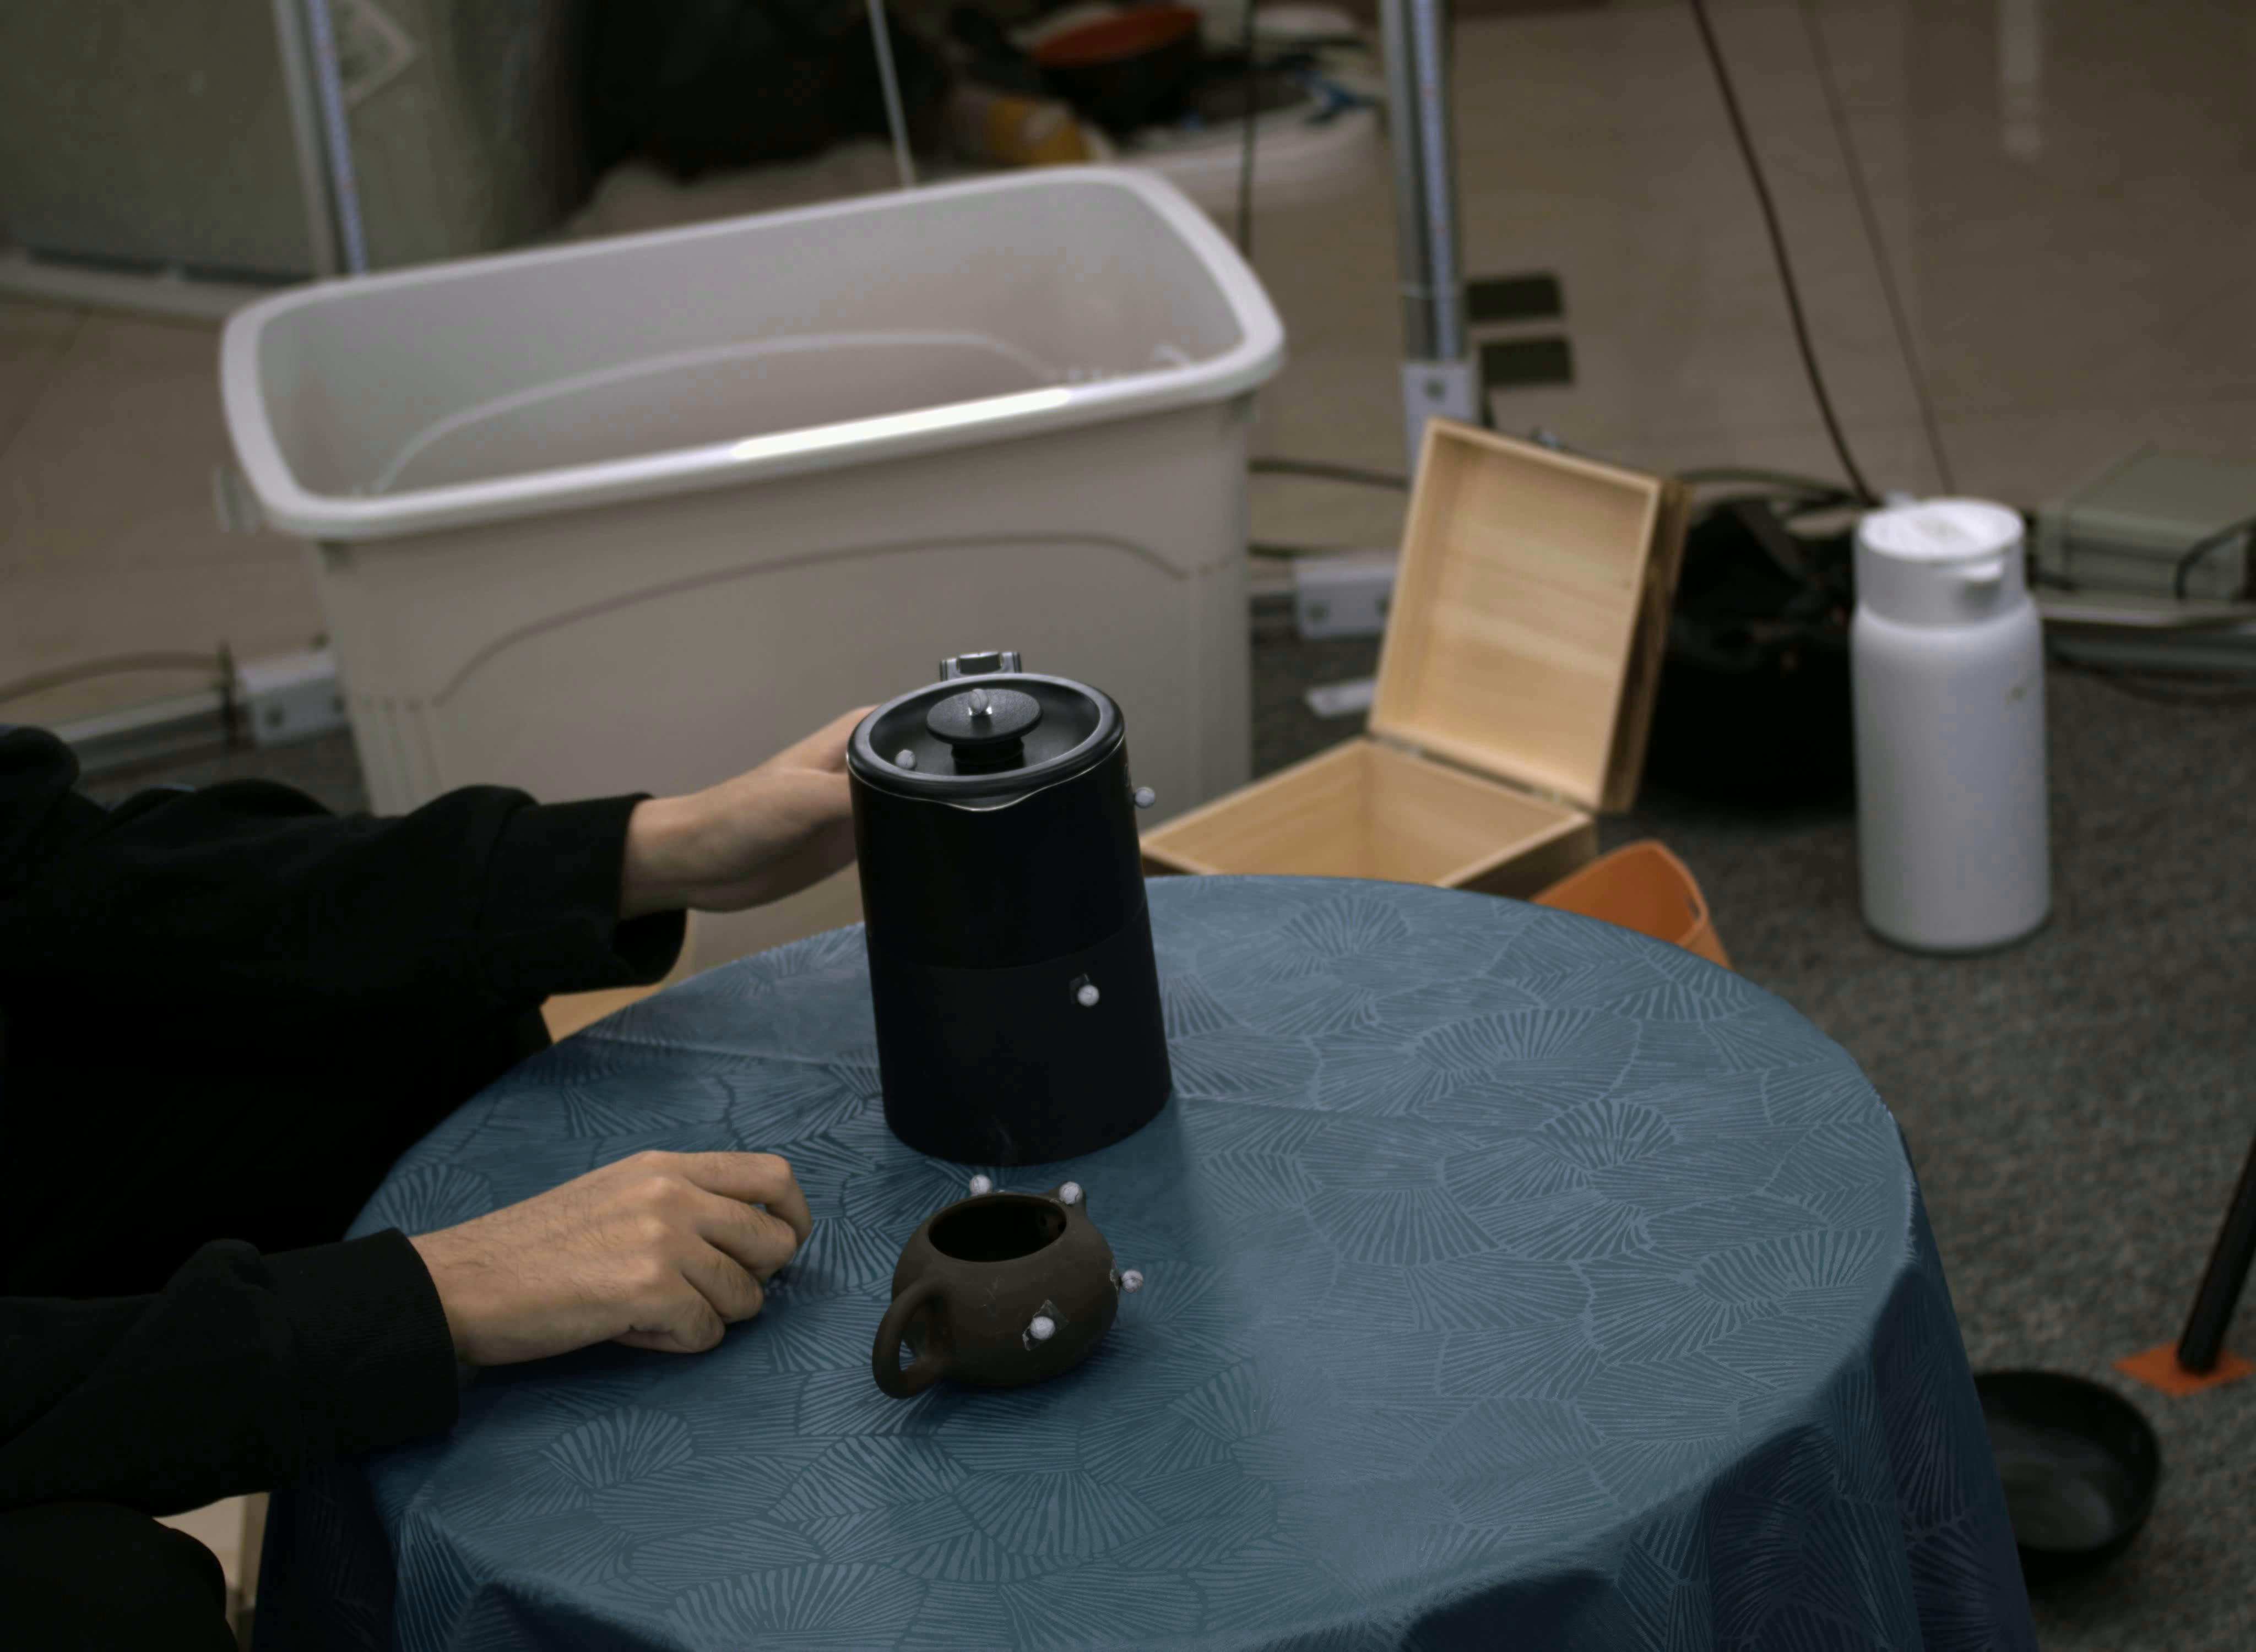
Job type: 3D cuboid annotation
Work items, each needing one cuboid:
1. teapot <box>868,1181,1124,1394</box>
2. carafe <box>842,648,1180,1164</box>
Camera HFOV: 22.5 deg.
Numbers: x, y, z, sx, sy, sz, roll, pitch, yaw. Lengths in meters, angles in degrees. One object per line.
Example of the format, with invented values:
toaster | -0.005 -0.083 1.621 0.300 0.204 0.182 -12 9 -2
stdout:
teapot | -0.051 0.169 2.033 0.082 0.054 0.113 17 30 42
carafe | -0.049 0.021 2.203 0.114 0.176 0.169 -8 28 0
